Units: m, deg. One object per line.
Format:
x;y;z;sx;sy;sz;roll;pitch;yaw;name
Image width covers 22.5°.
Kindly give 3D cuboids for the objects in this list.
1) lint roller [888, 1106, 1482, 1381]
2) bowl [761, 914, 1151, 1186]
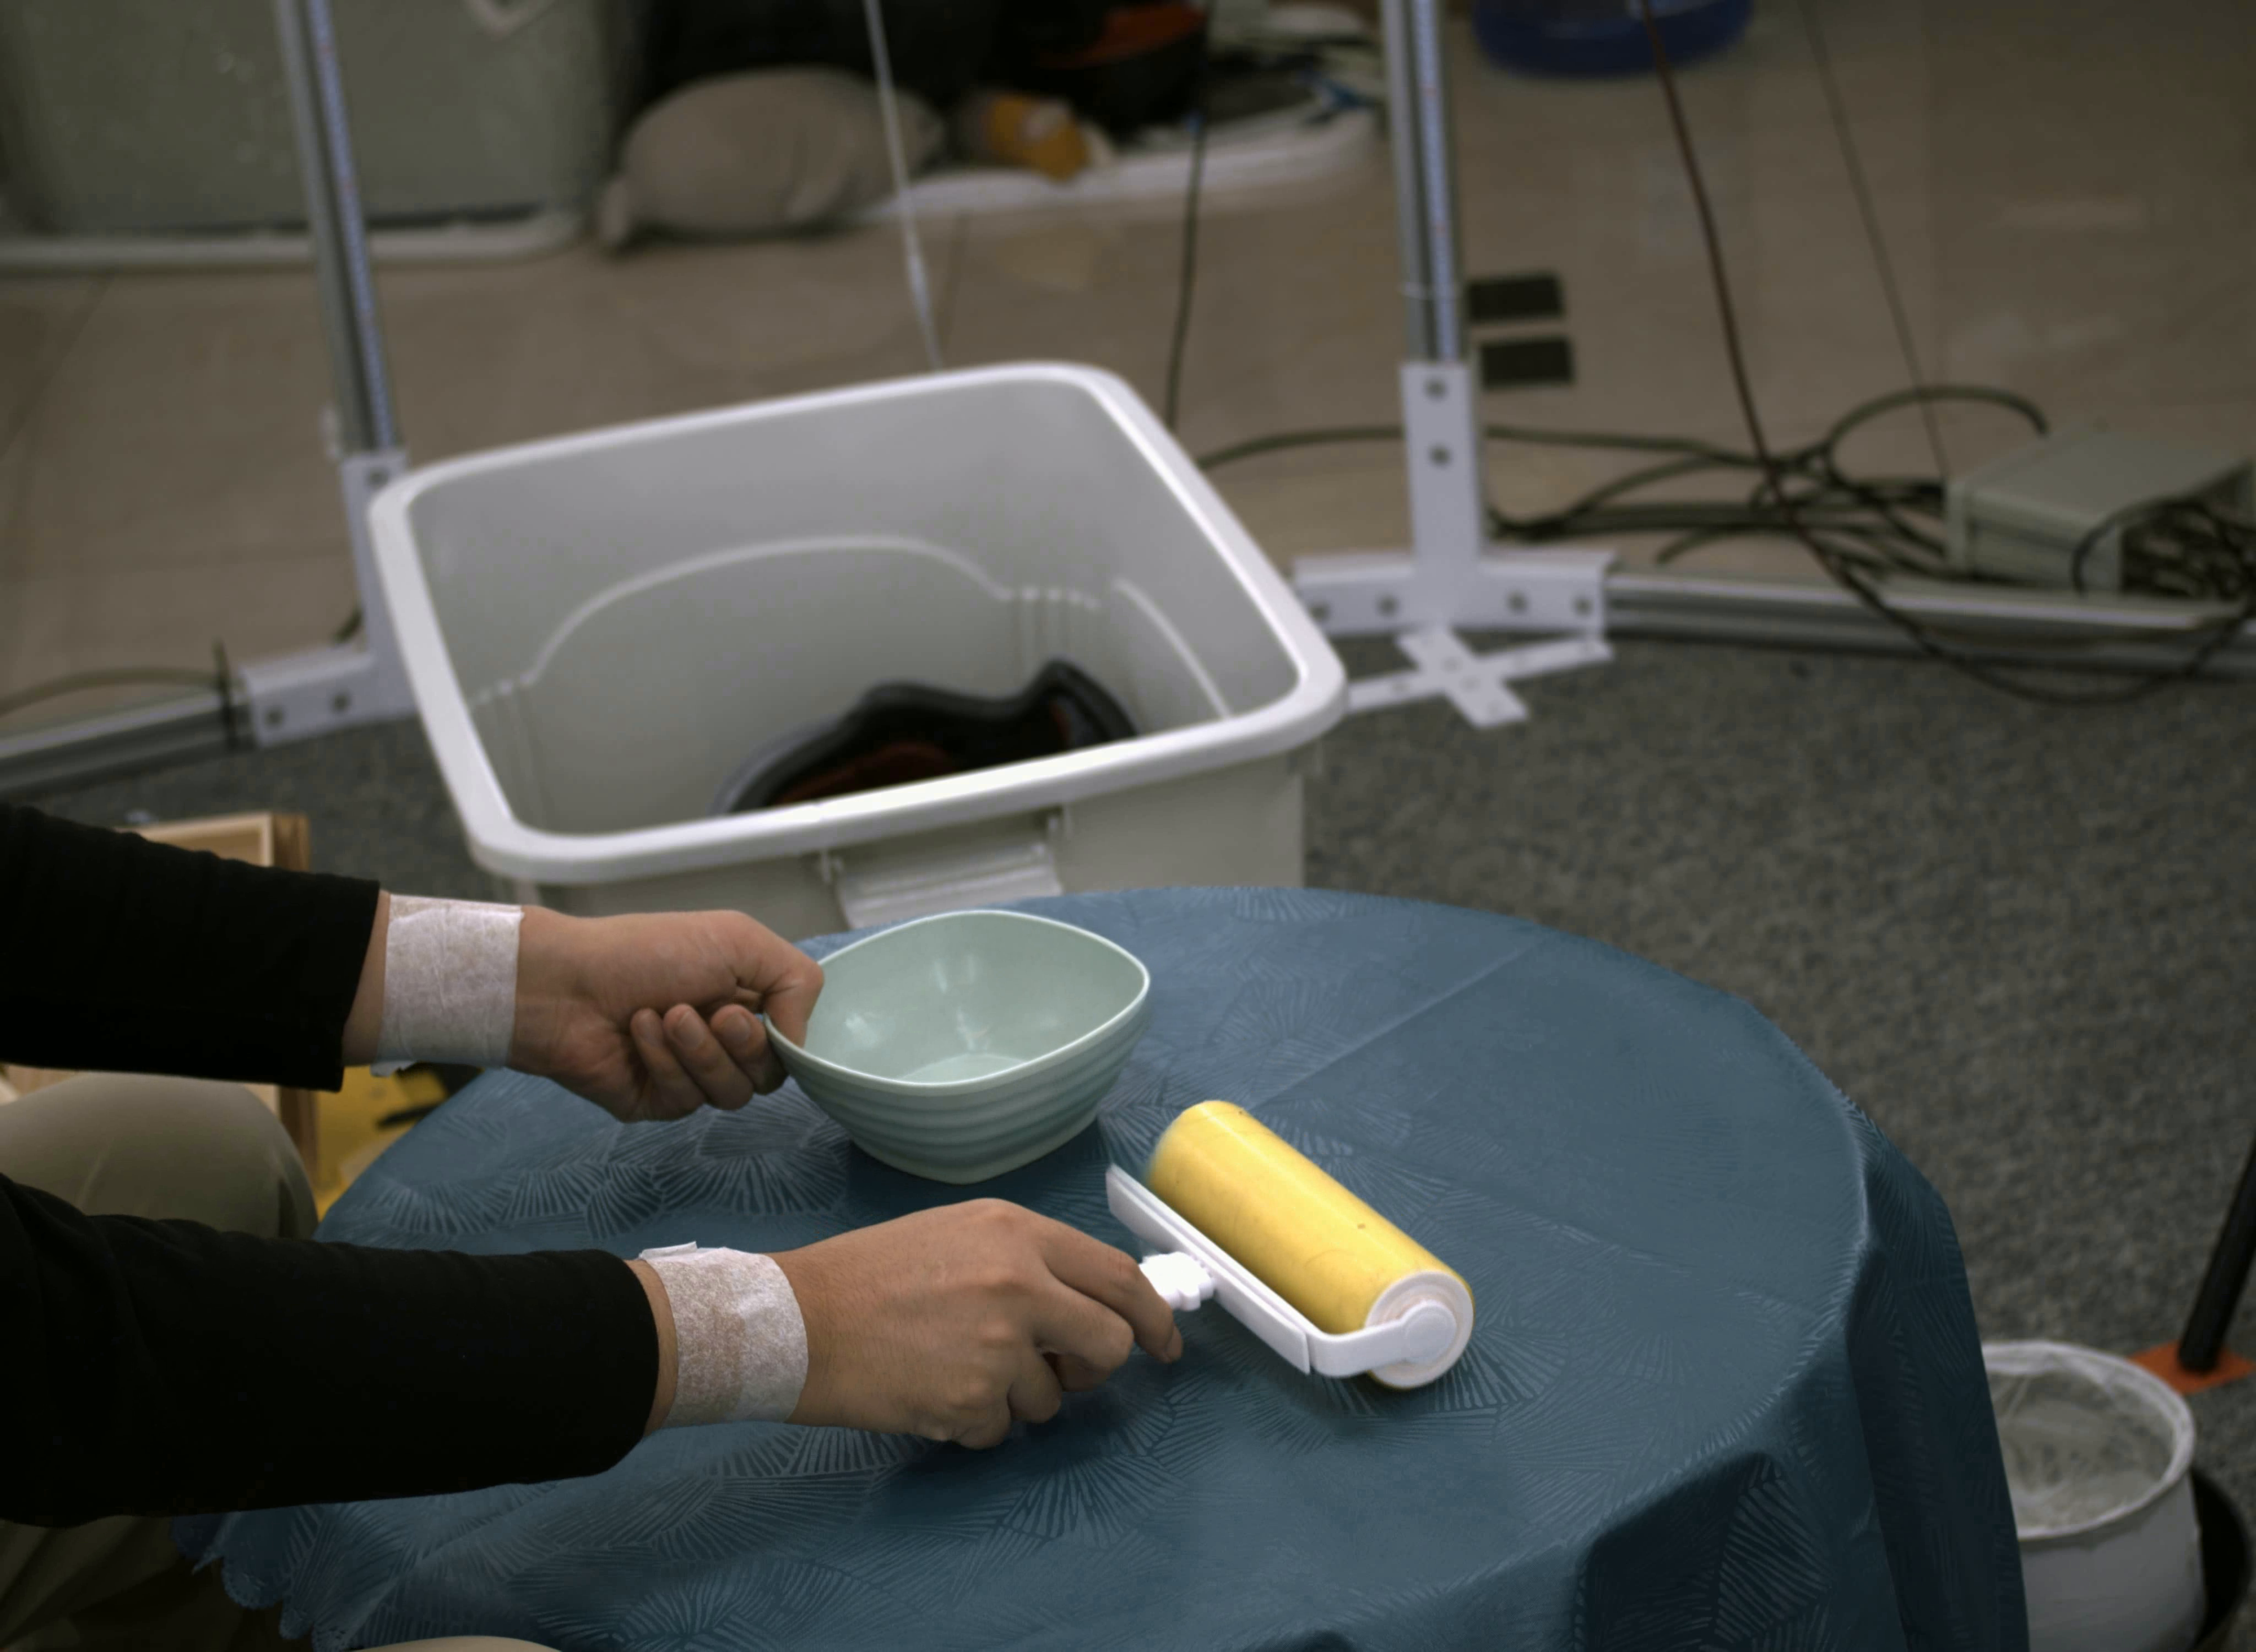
0.003;0.159;2.016;0.191;0.052;0.172;-6;21;-28;lint roller
-0.065;0.092;2.197;0.151;0.059;0.149;-3;25;2;bowl
